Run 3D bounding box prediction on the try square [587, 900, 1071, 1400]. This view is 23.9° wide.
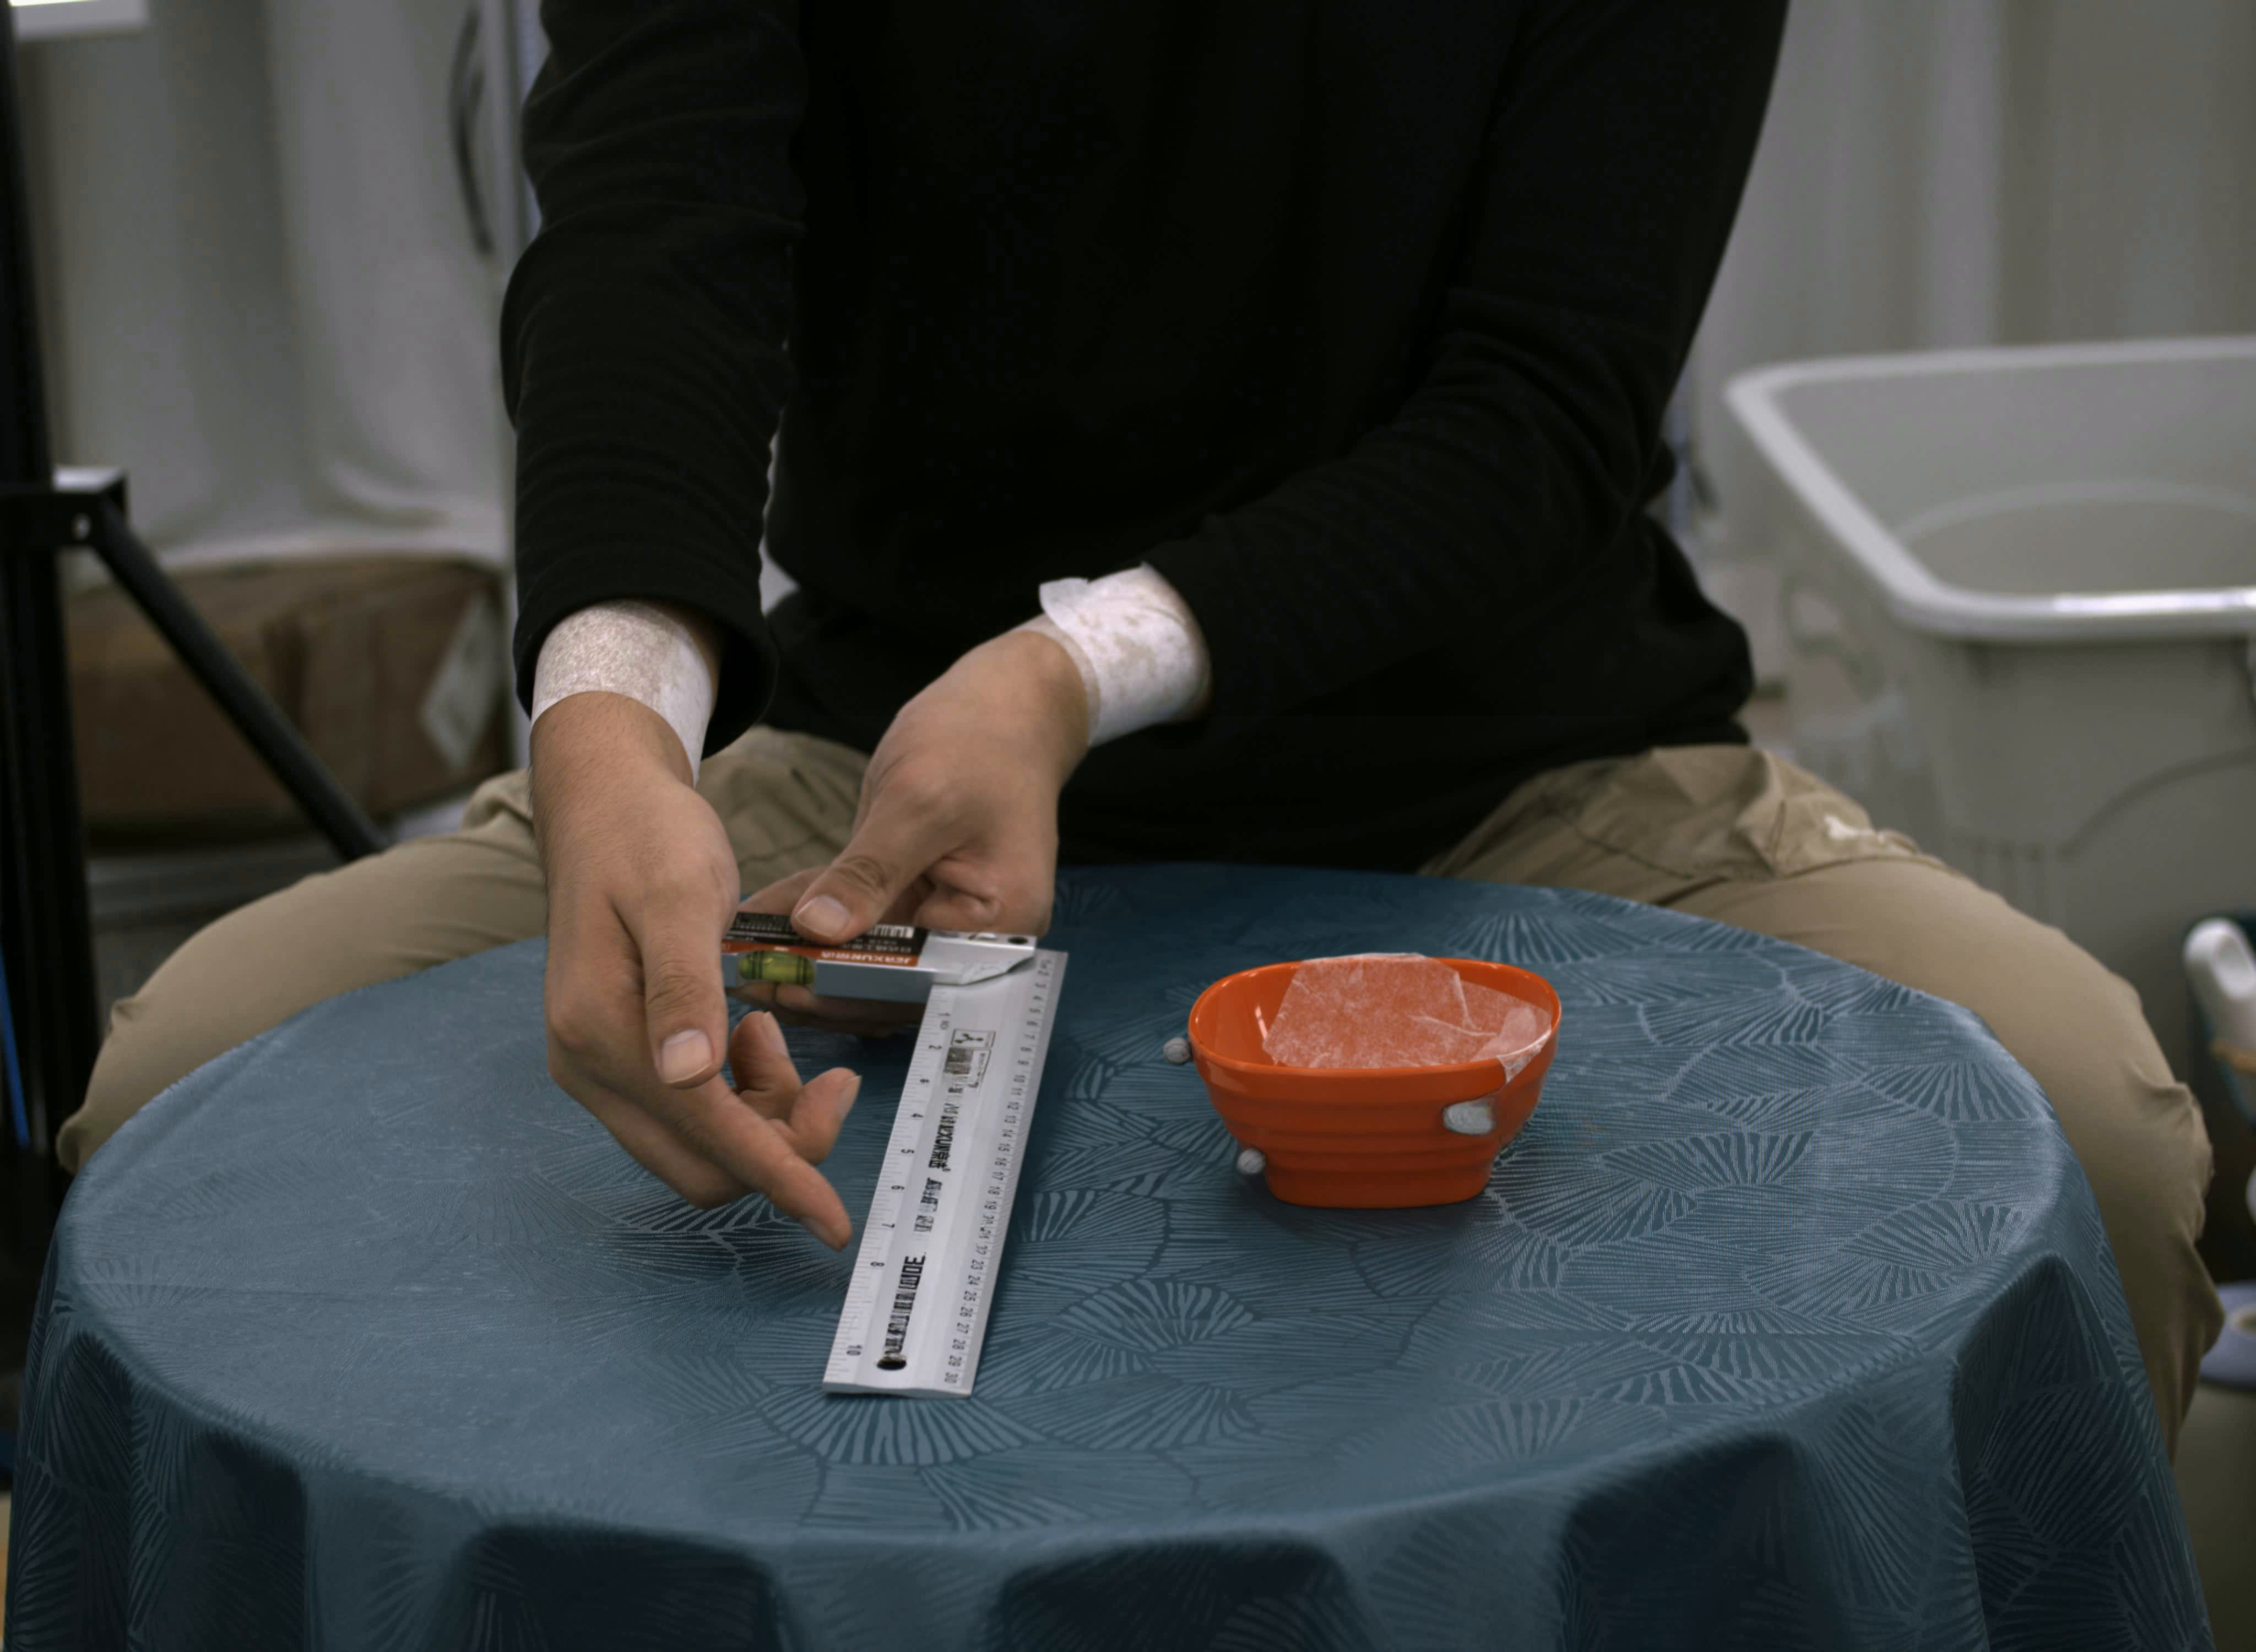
[{"bbox_3d":[-0.103,0.090,1.560,0.152,0.016,0.313,4,21,3],"label":"try square"}]

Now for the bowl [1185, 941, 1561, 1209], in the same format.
[{"bbox_3d":[0.073,0.076,1.556,0.118,0.051,0.119,-5,19,0],"label":"bowl"}]
